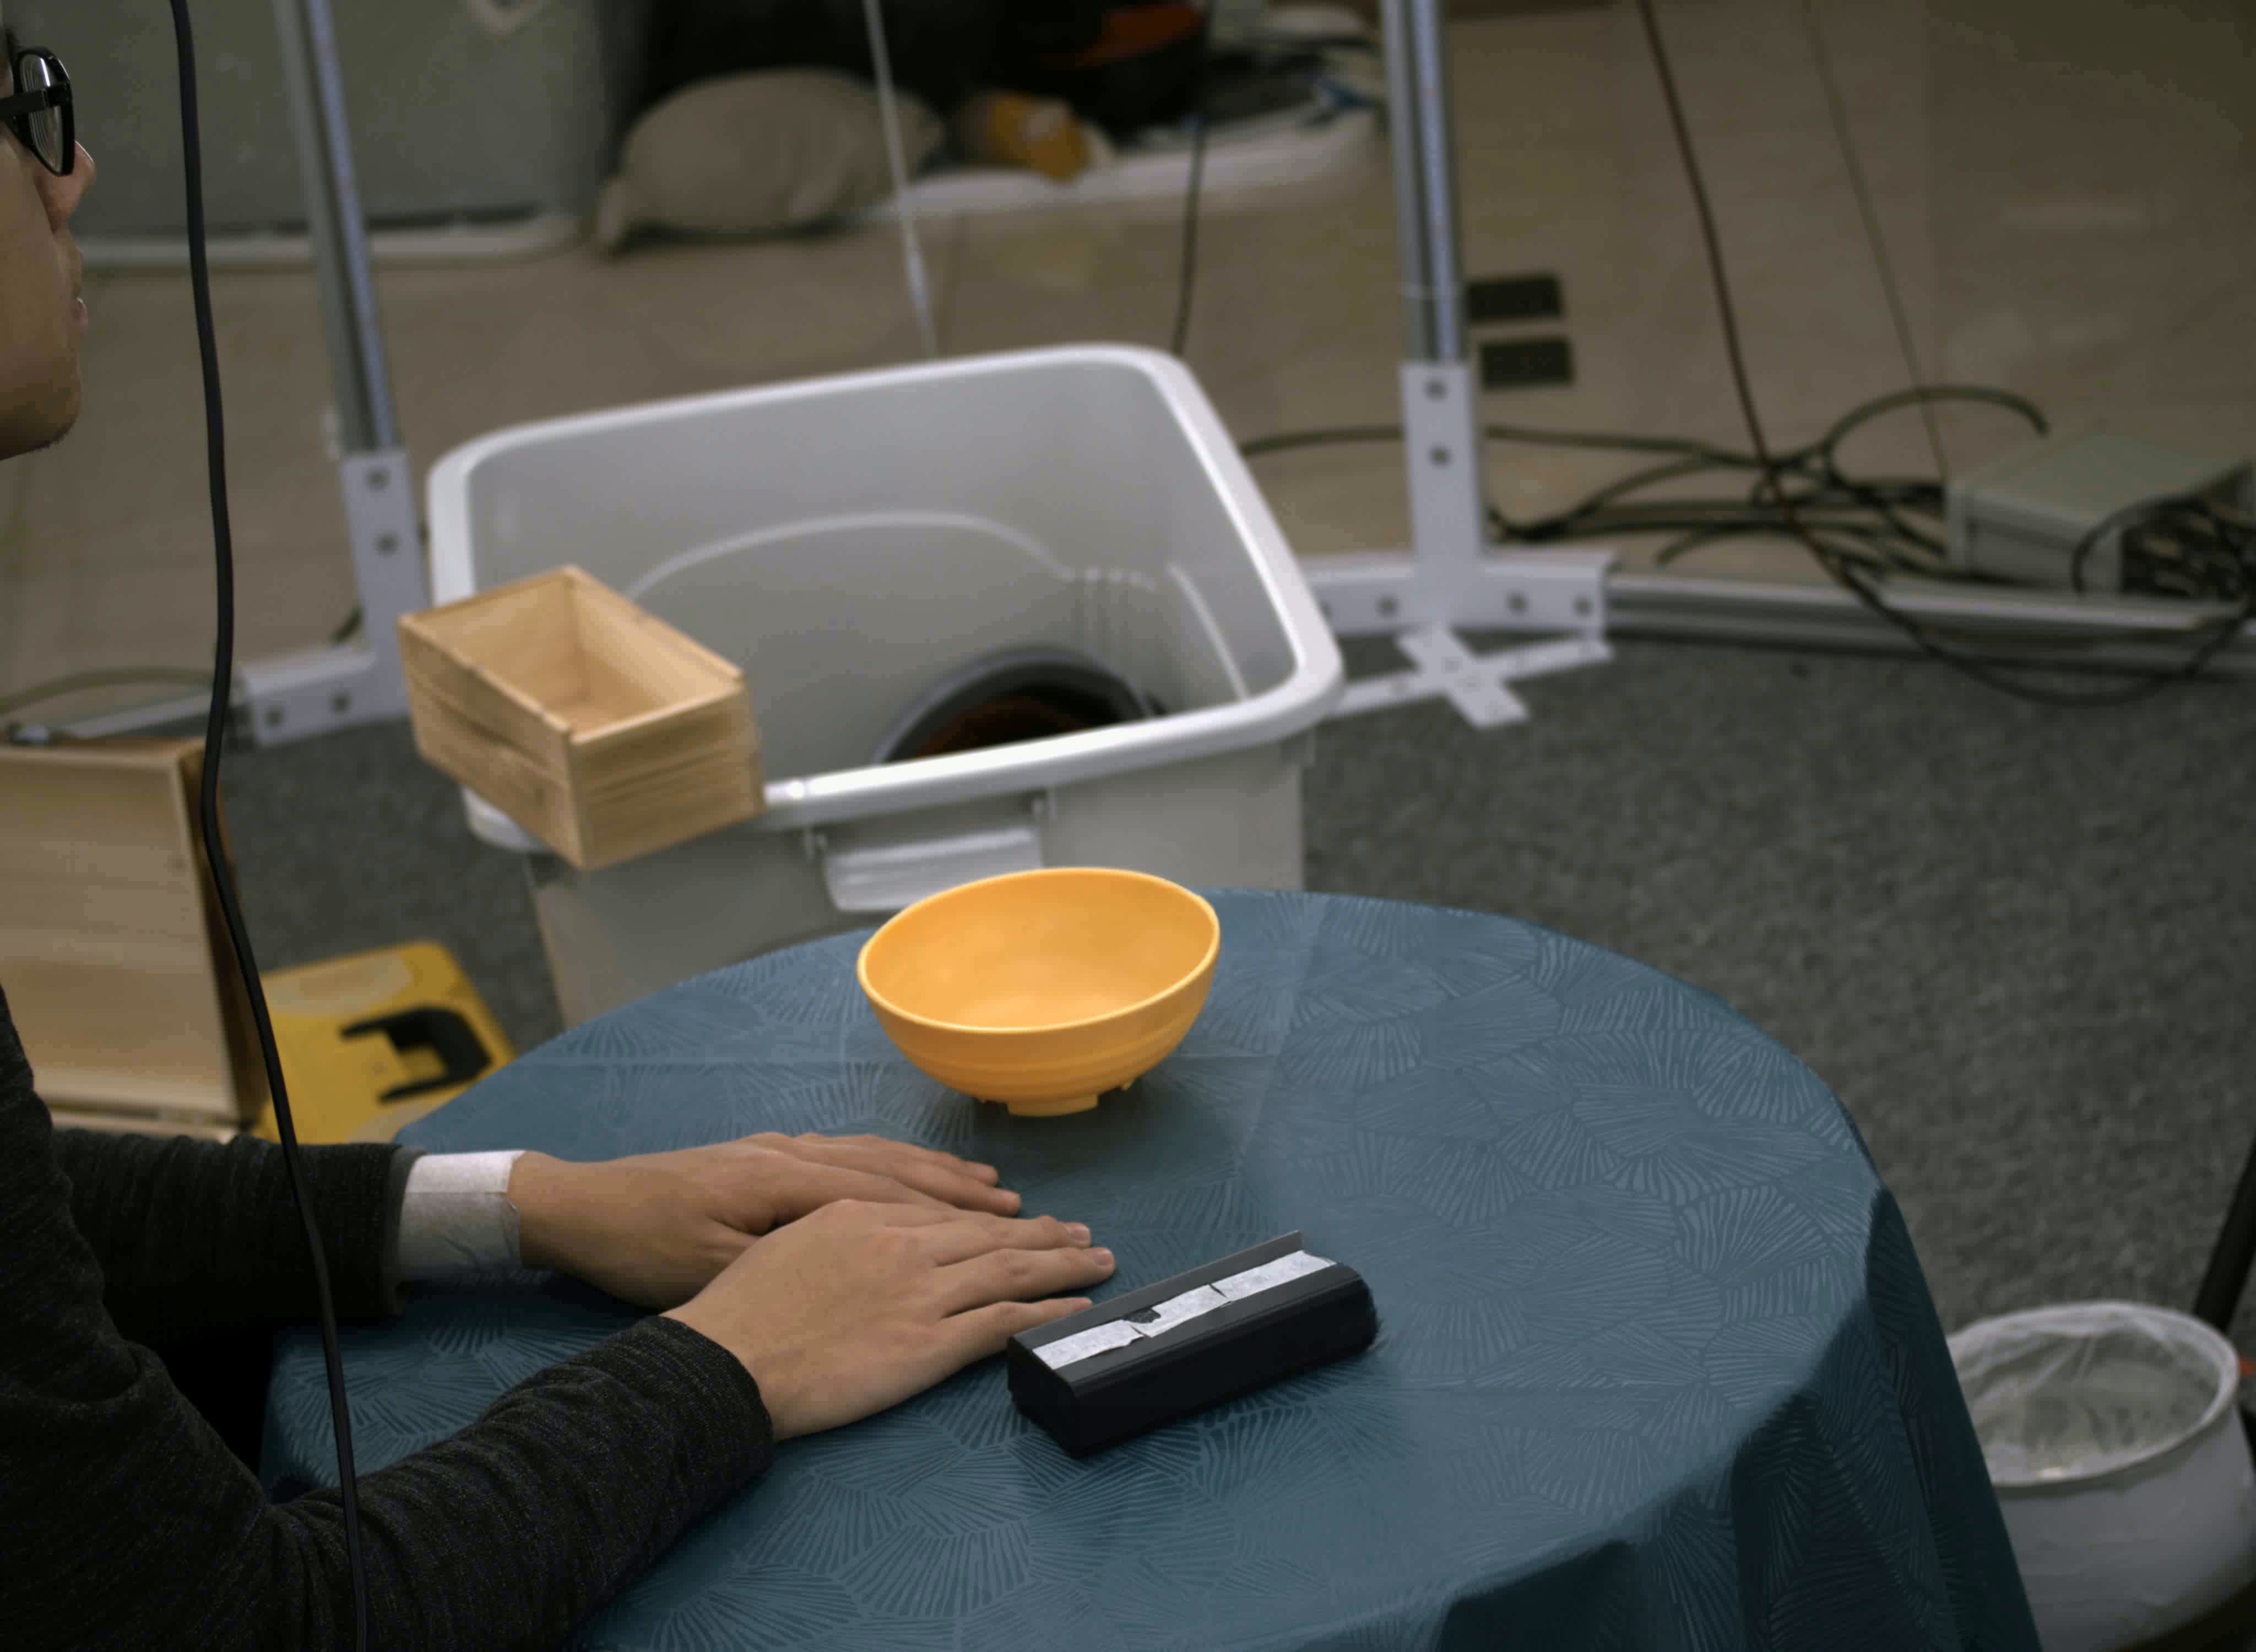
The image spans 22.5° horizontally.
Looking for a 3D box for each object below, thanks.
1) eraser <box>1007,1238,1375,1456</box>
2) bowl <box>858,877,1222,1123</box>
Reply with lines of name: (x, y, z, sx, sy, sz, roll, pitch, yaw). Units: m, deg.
eraser: (0.024, 0.183, 2.013, 0.125, 0.031, 0.053, -19, 25, -25)
bowl: (-0.030, 0.076, 2.225, 0.145, 0.061, 0.143, -8, 24, 4)
